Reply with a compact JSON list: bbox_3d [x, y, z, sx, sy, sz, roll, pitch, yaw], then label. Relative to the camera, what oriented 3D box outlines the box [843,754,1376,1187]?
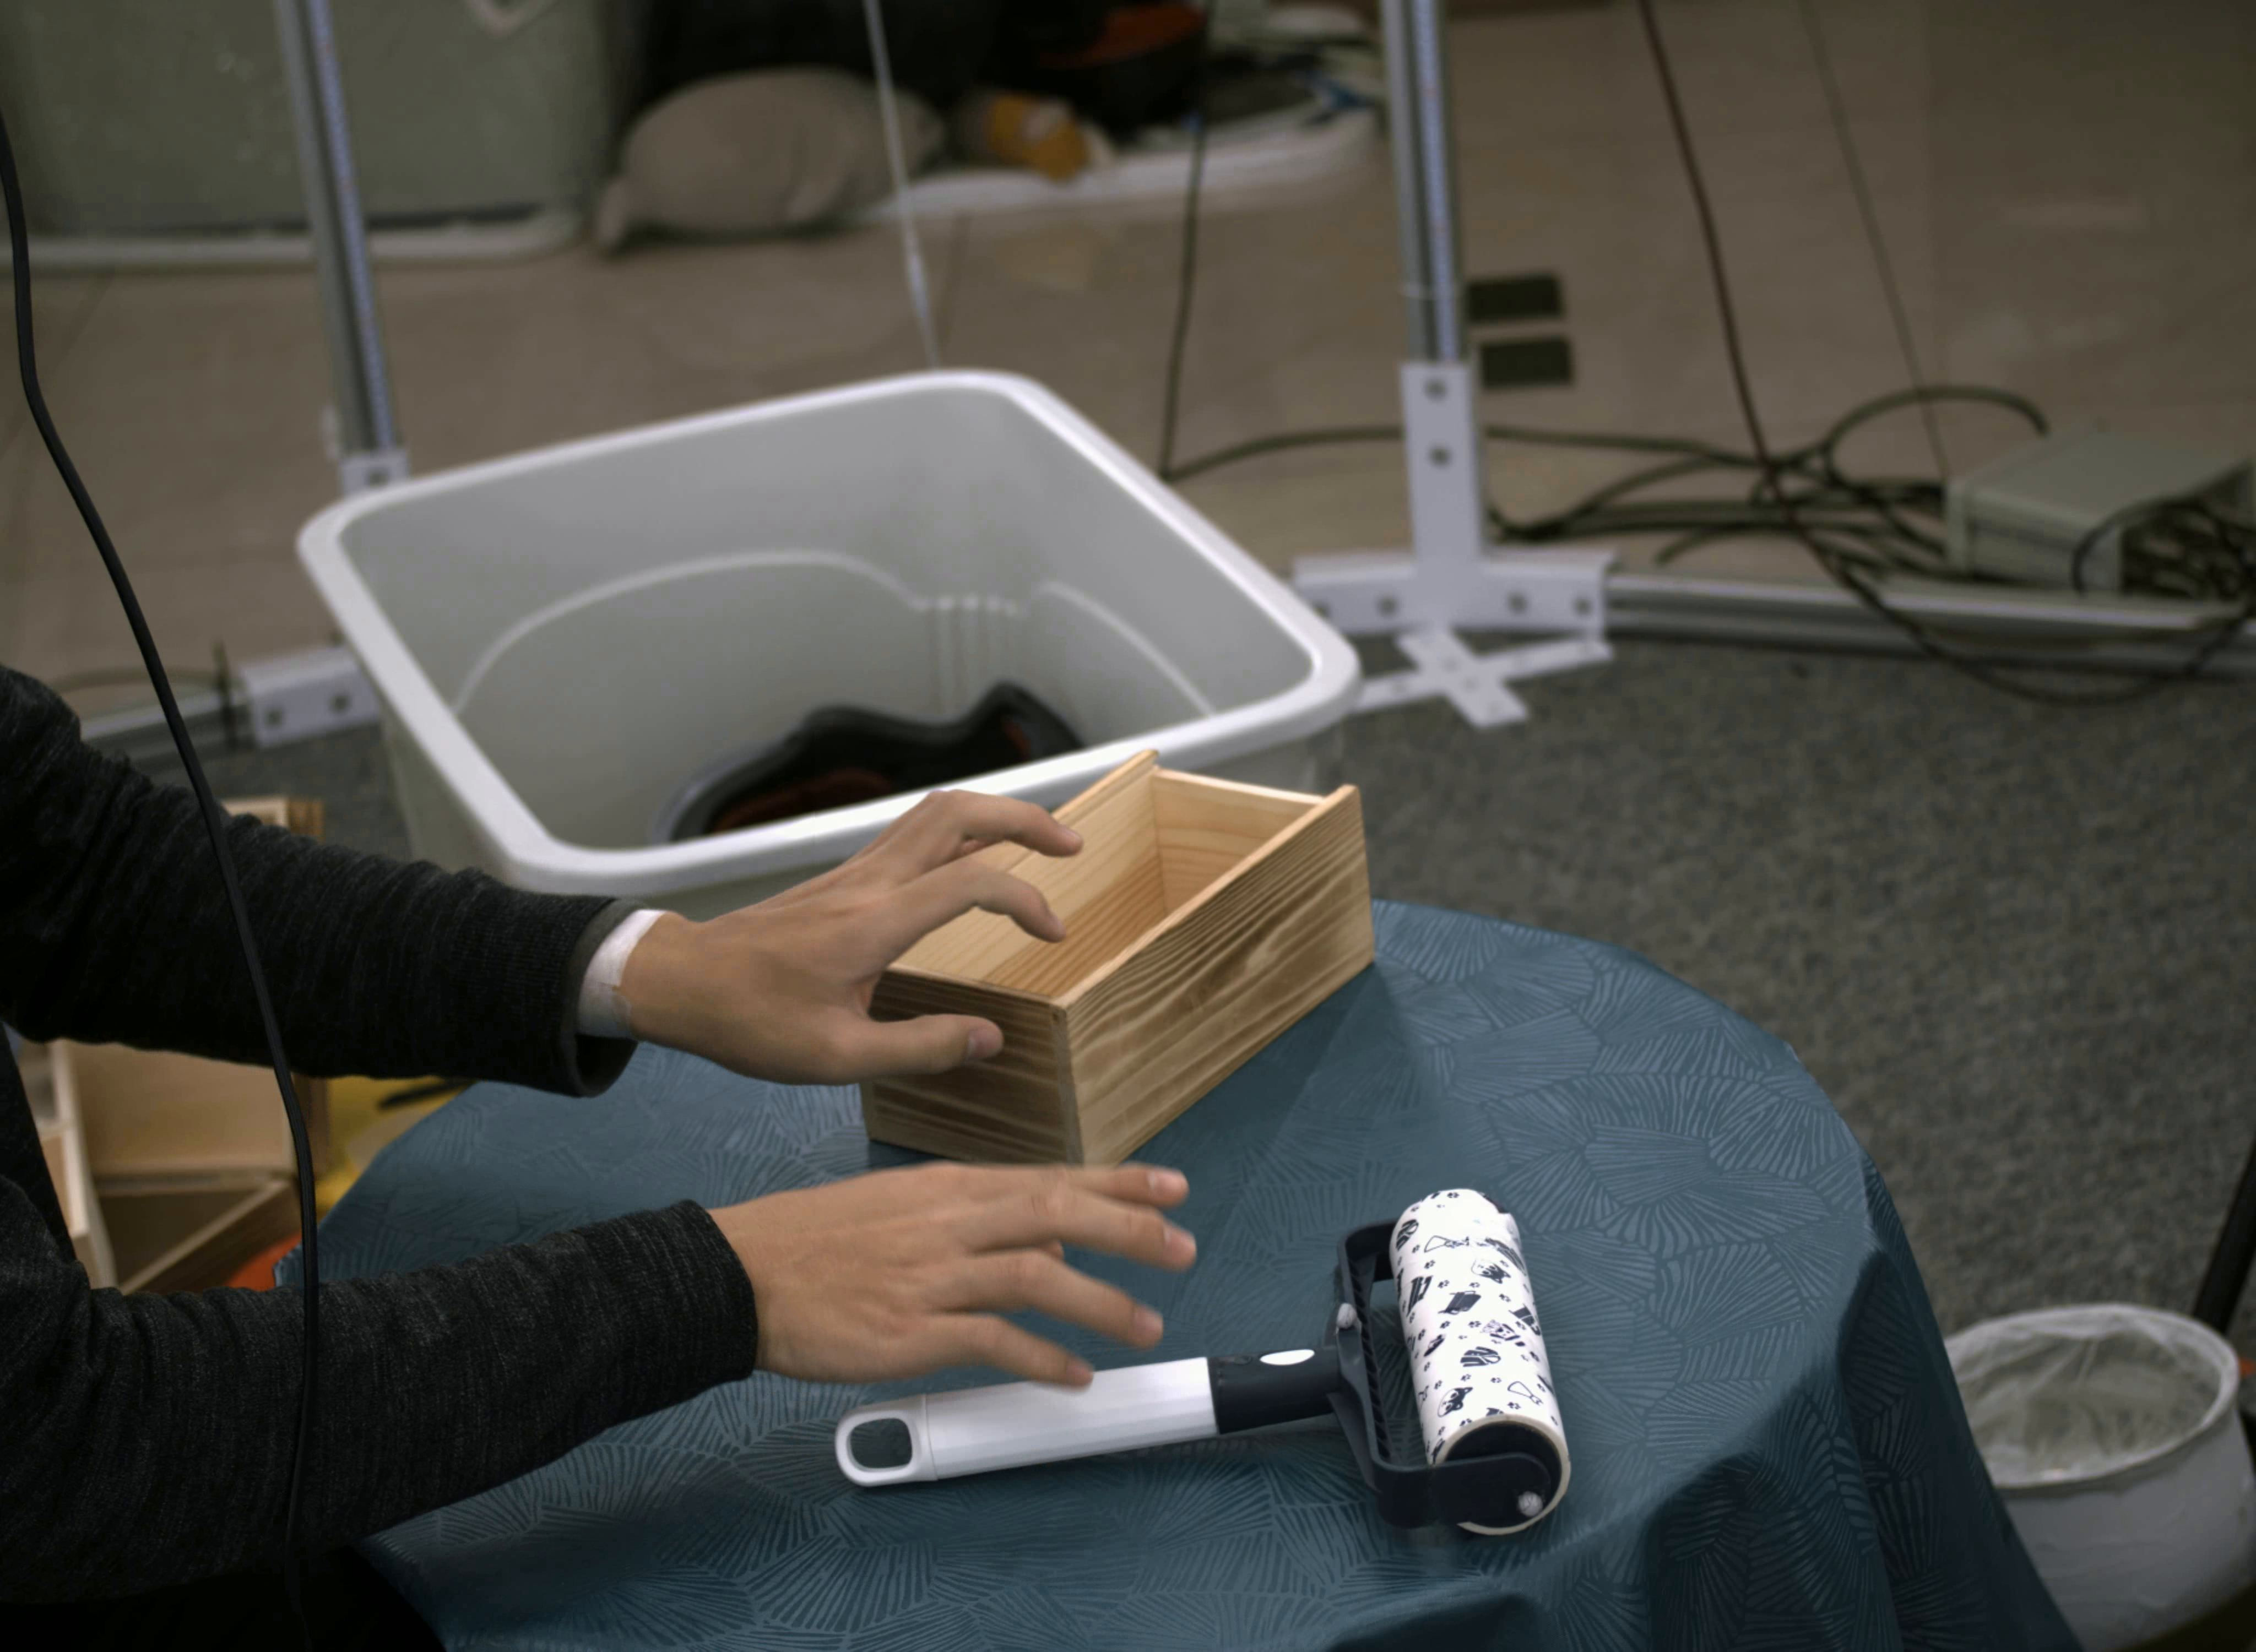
[{"bbox_3d":[-0.004,0.054,2.237,0.107,0.081,0.209,11,30,33],"label":"box"}]

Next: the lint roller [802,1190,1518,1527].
[{"bbox_3d":[0.006,0.184,1.979,0.246,0.051,0.174,-1,24,10],"label":"lint roller"}]
